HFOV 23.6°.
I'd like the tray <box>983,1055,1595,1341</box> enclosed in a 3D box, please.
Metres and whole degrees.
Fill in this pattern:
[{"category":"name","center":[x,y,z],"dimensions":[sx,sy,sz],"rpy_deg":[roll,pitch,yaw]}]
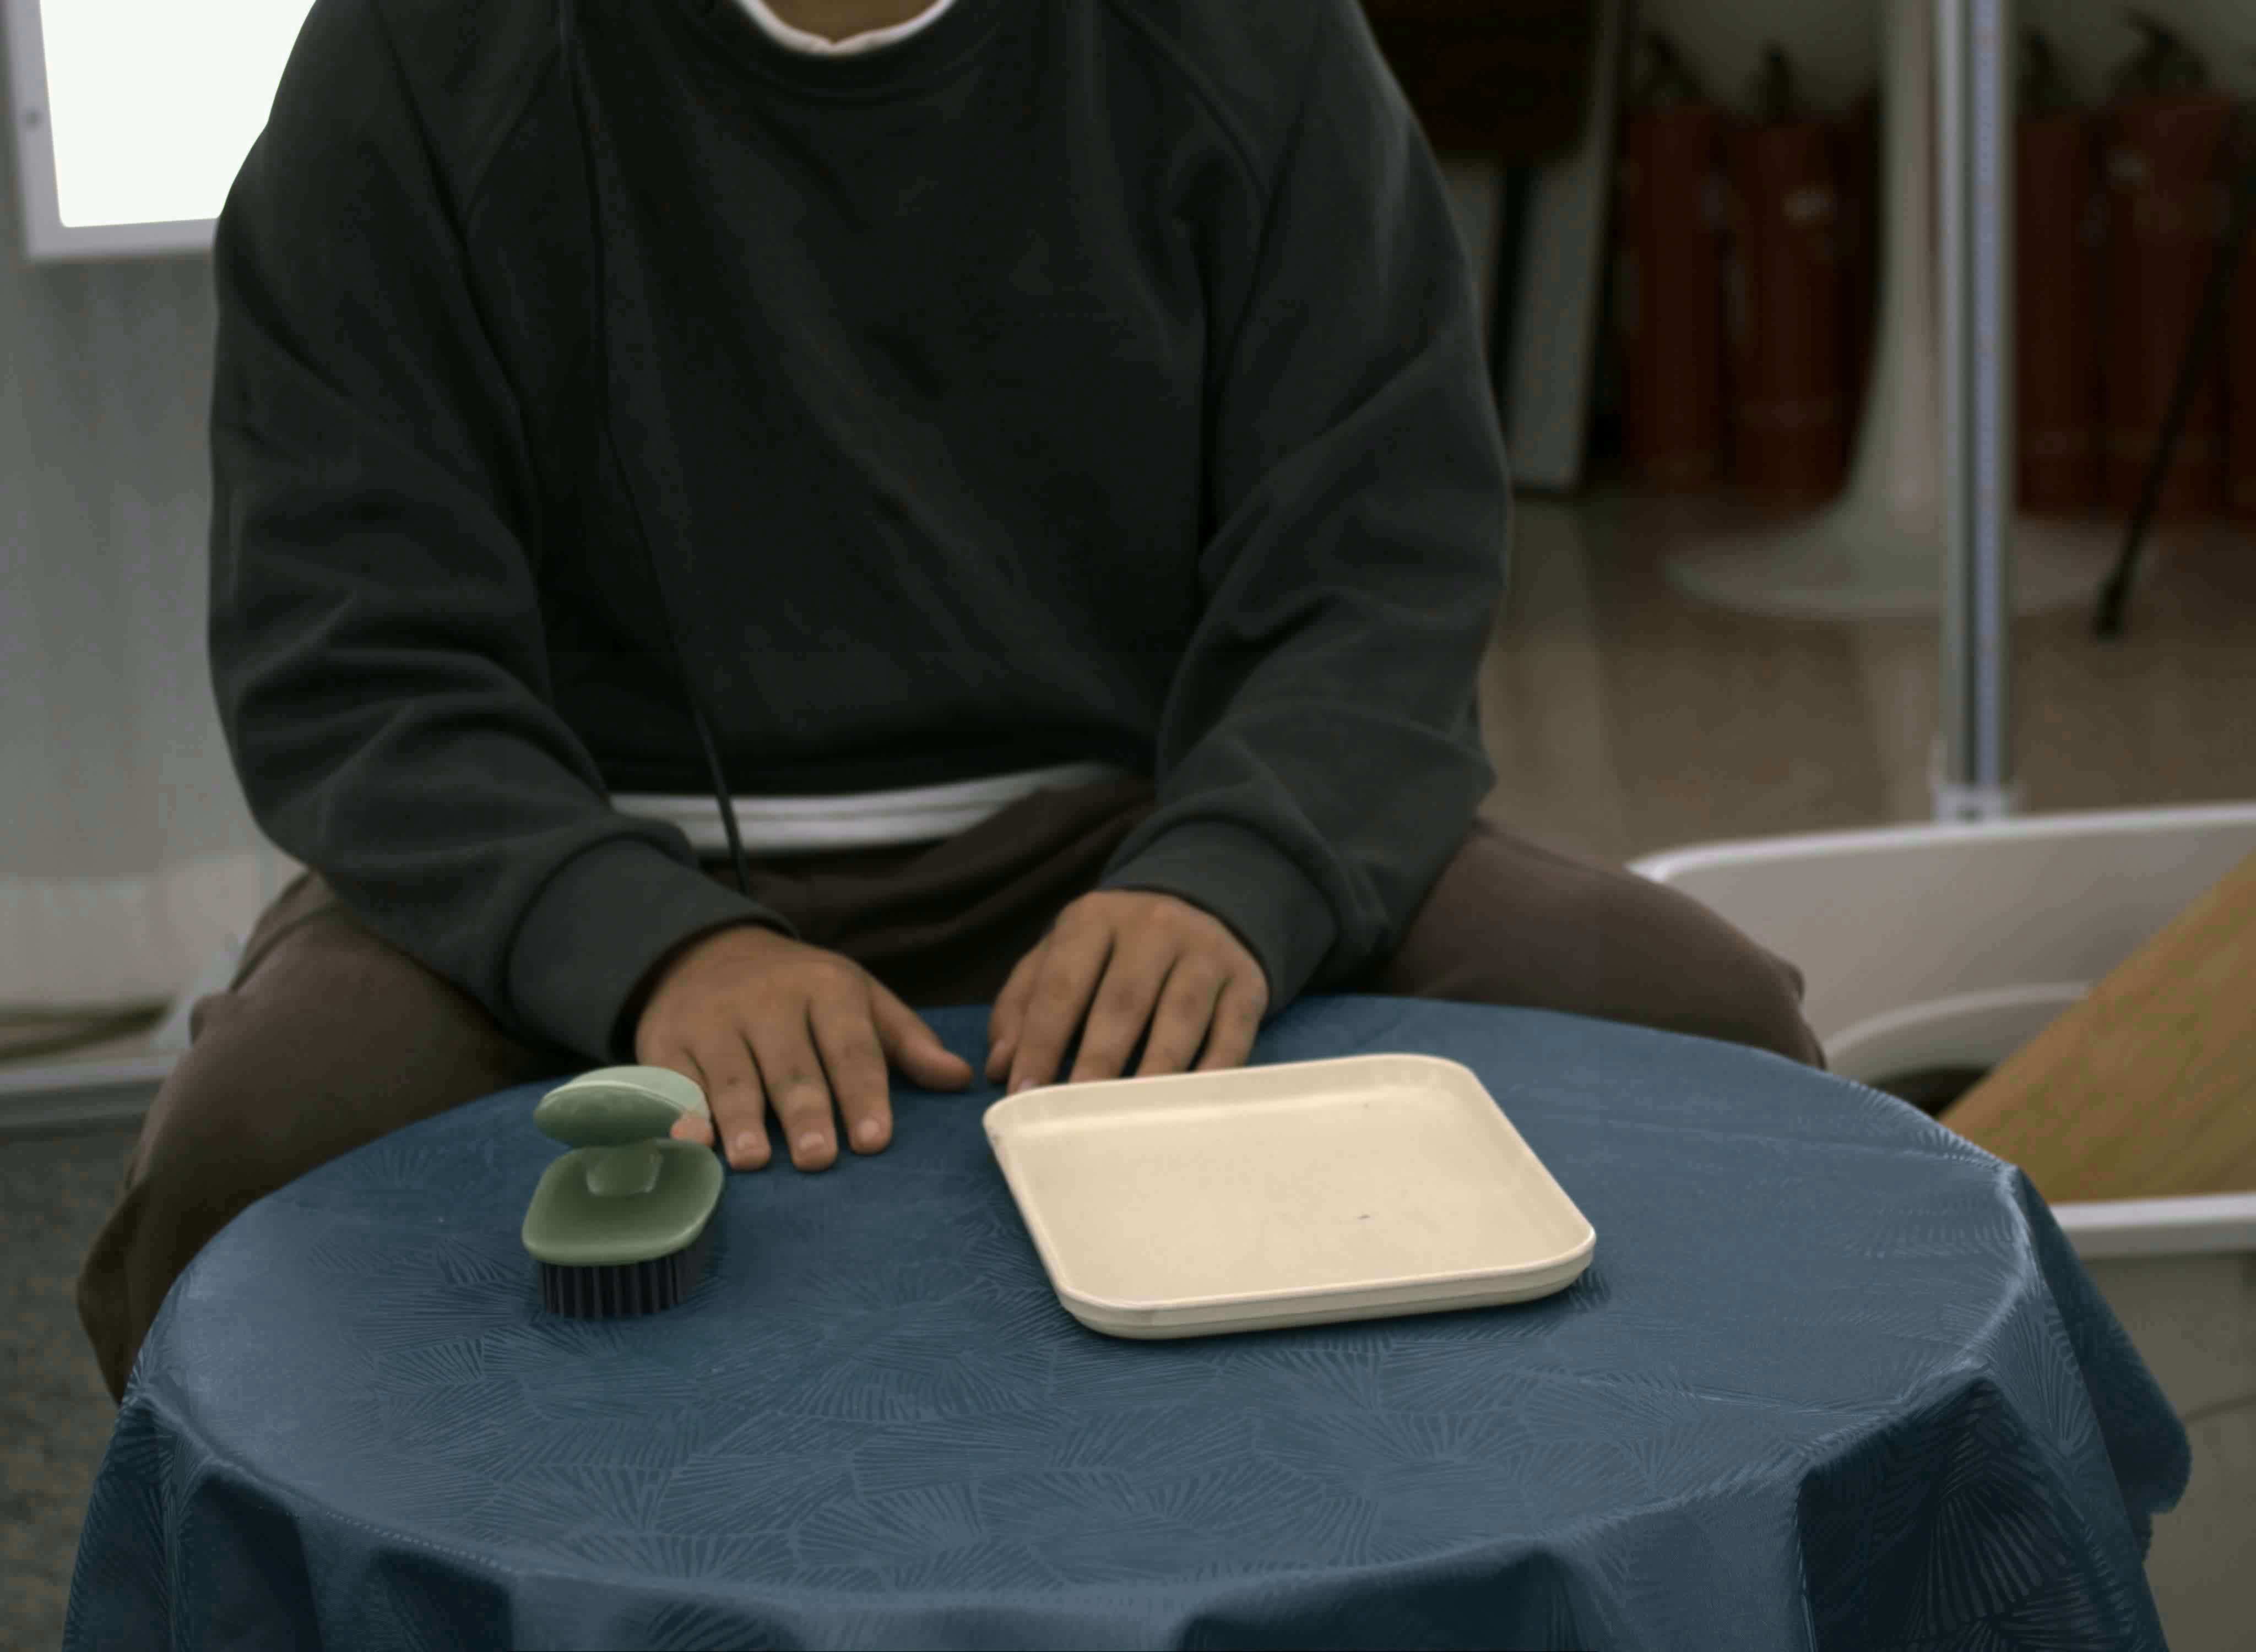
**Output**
[{"category":"tray","center":[0.048,0.119,1.733],"dimensions":[0.168,0.017,0.241],"rpy_deg":[-5,14,-7]}]

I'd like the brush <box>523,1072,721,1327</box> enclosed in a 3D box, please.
[{"category":"brush","center":[-0.161,0.117,1.726],"dimensions":[0.059,0.077,0.123],"rpy_deg":[-2,0,1]}]
